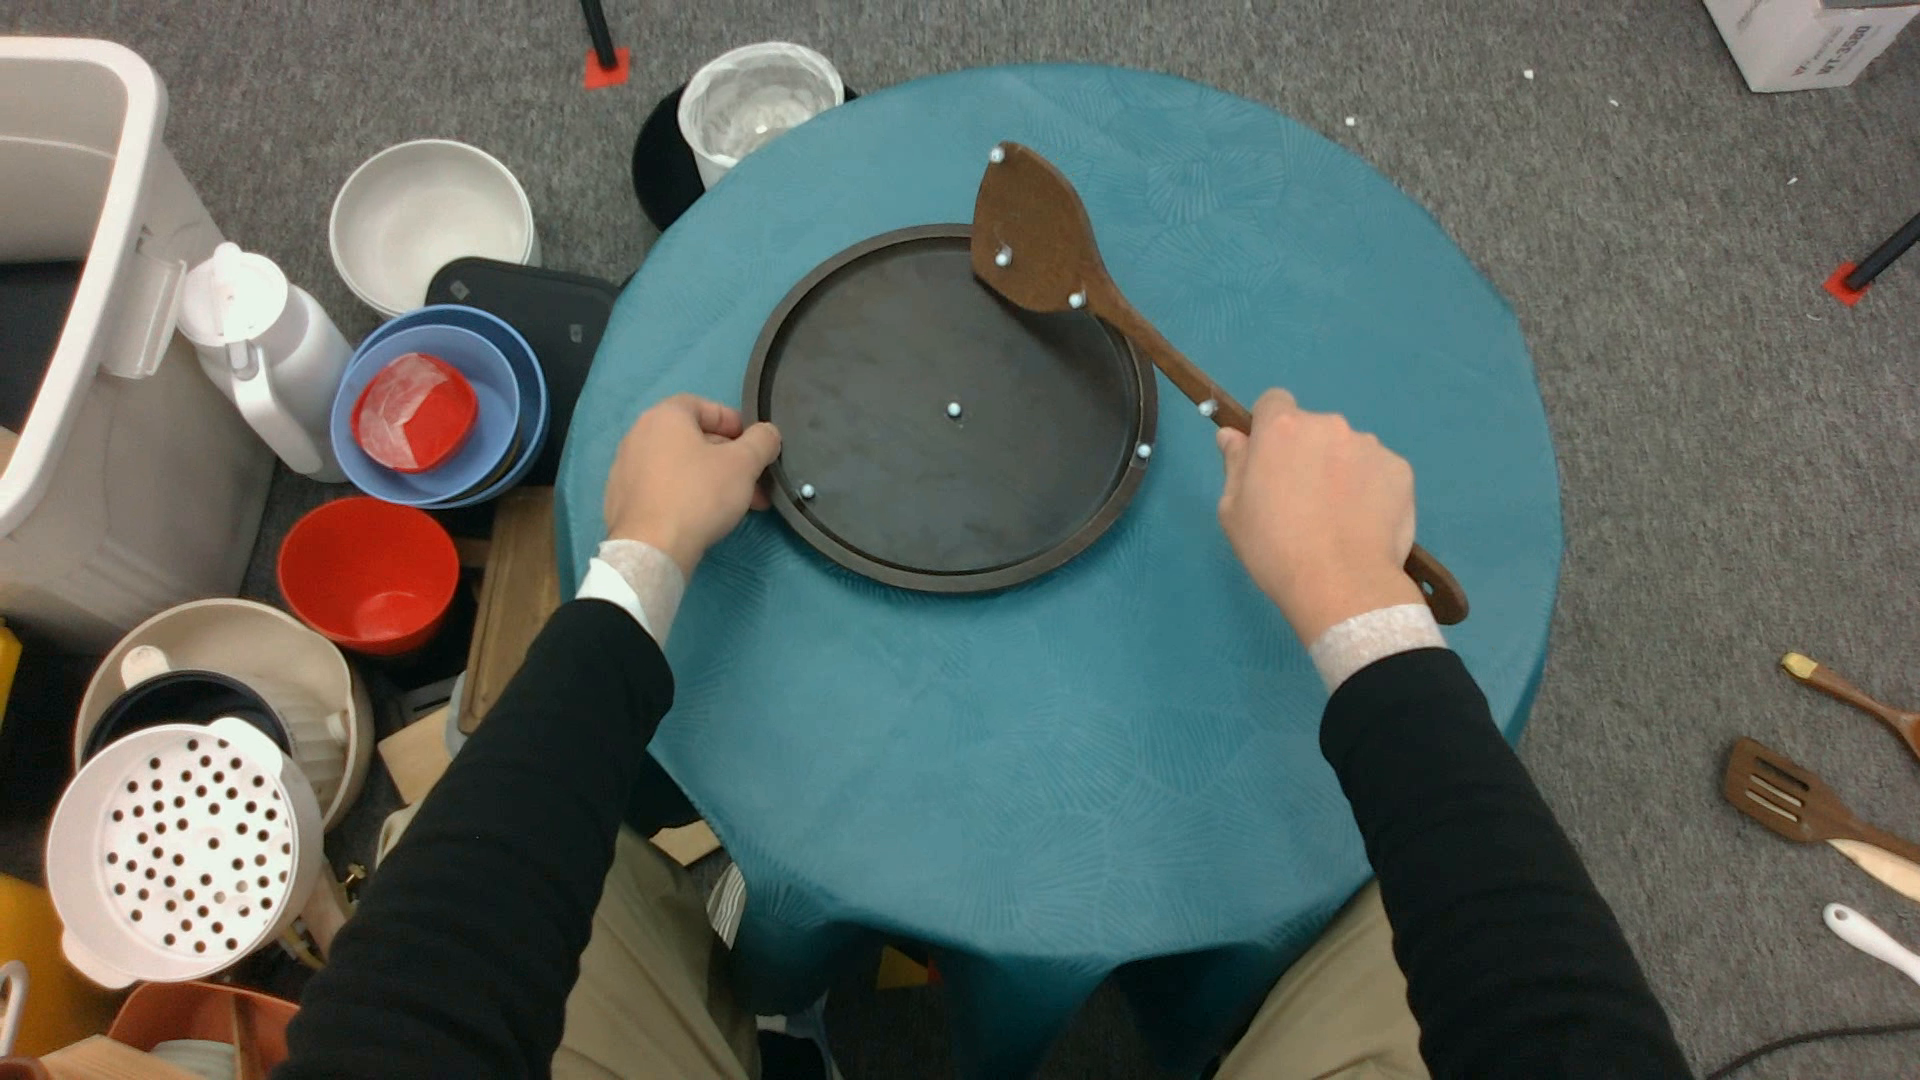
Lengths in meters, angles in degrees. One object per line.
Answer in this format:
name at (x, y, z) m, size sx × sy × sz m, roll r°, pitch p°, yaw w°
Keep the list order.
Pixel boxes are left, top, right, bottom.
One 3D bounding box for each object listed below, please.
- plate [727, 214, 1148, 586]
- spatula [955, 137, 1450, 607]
plate at (-0.014, -0.089, 0.836) m, size 0.255 × 0.029 × 0.255 m, roll 1°, pitch 67°, yaw -2°
spatula at (0.117, -0.094, 0.758) m, size 0.016 × 0.095 × 0.386 m, roll -22°, pitch 55°, yaw -33°
